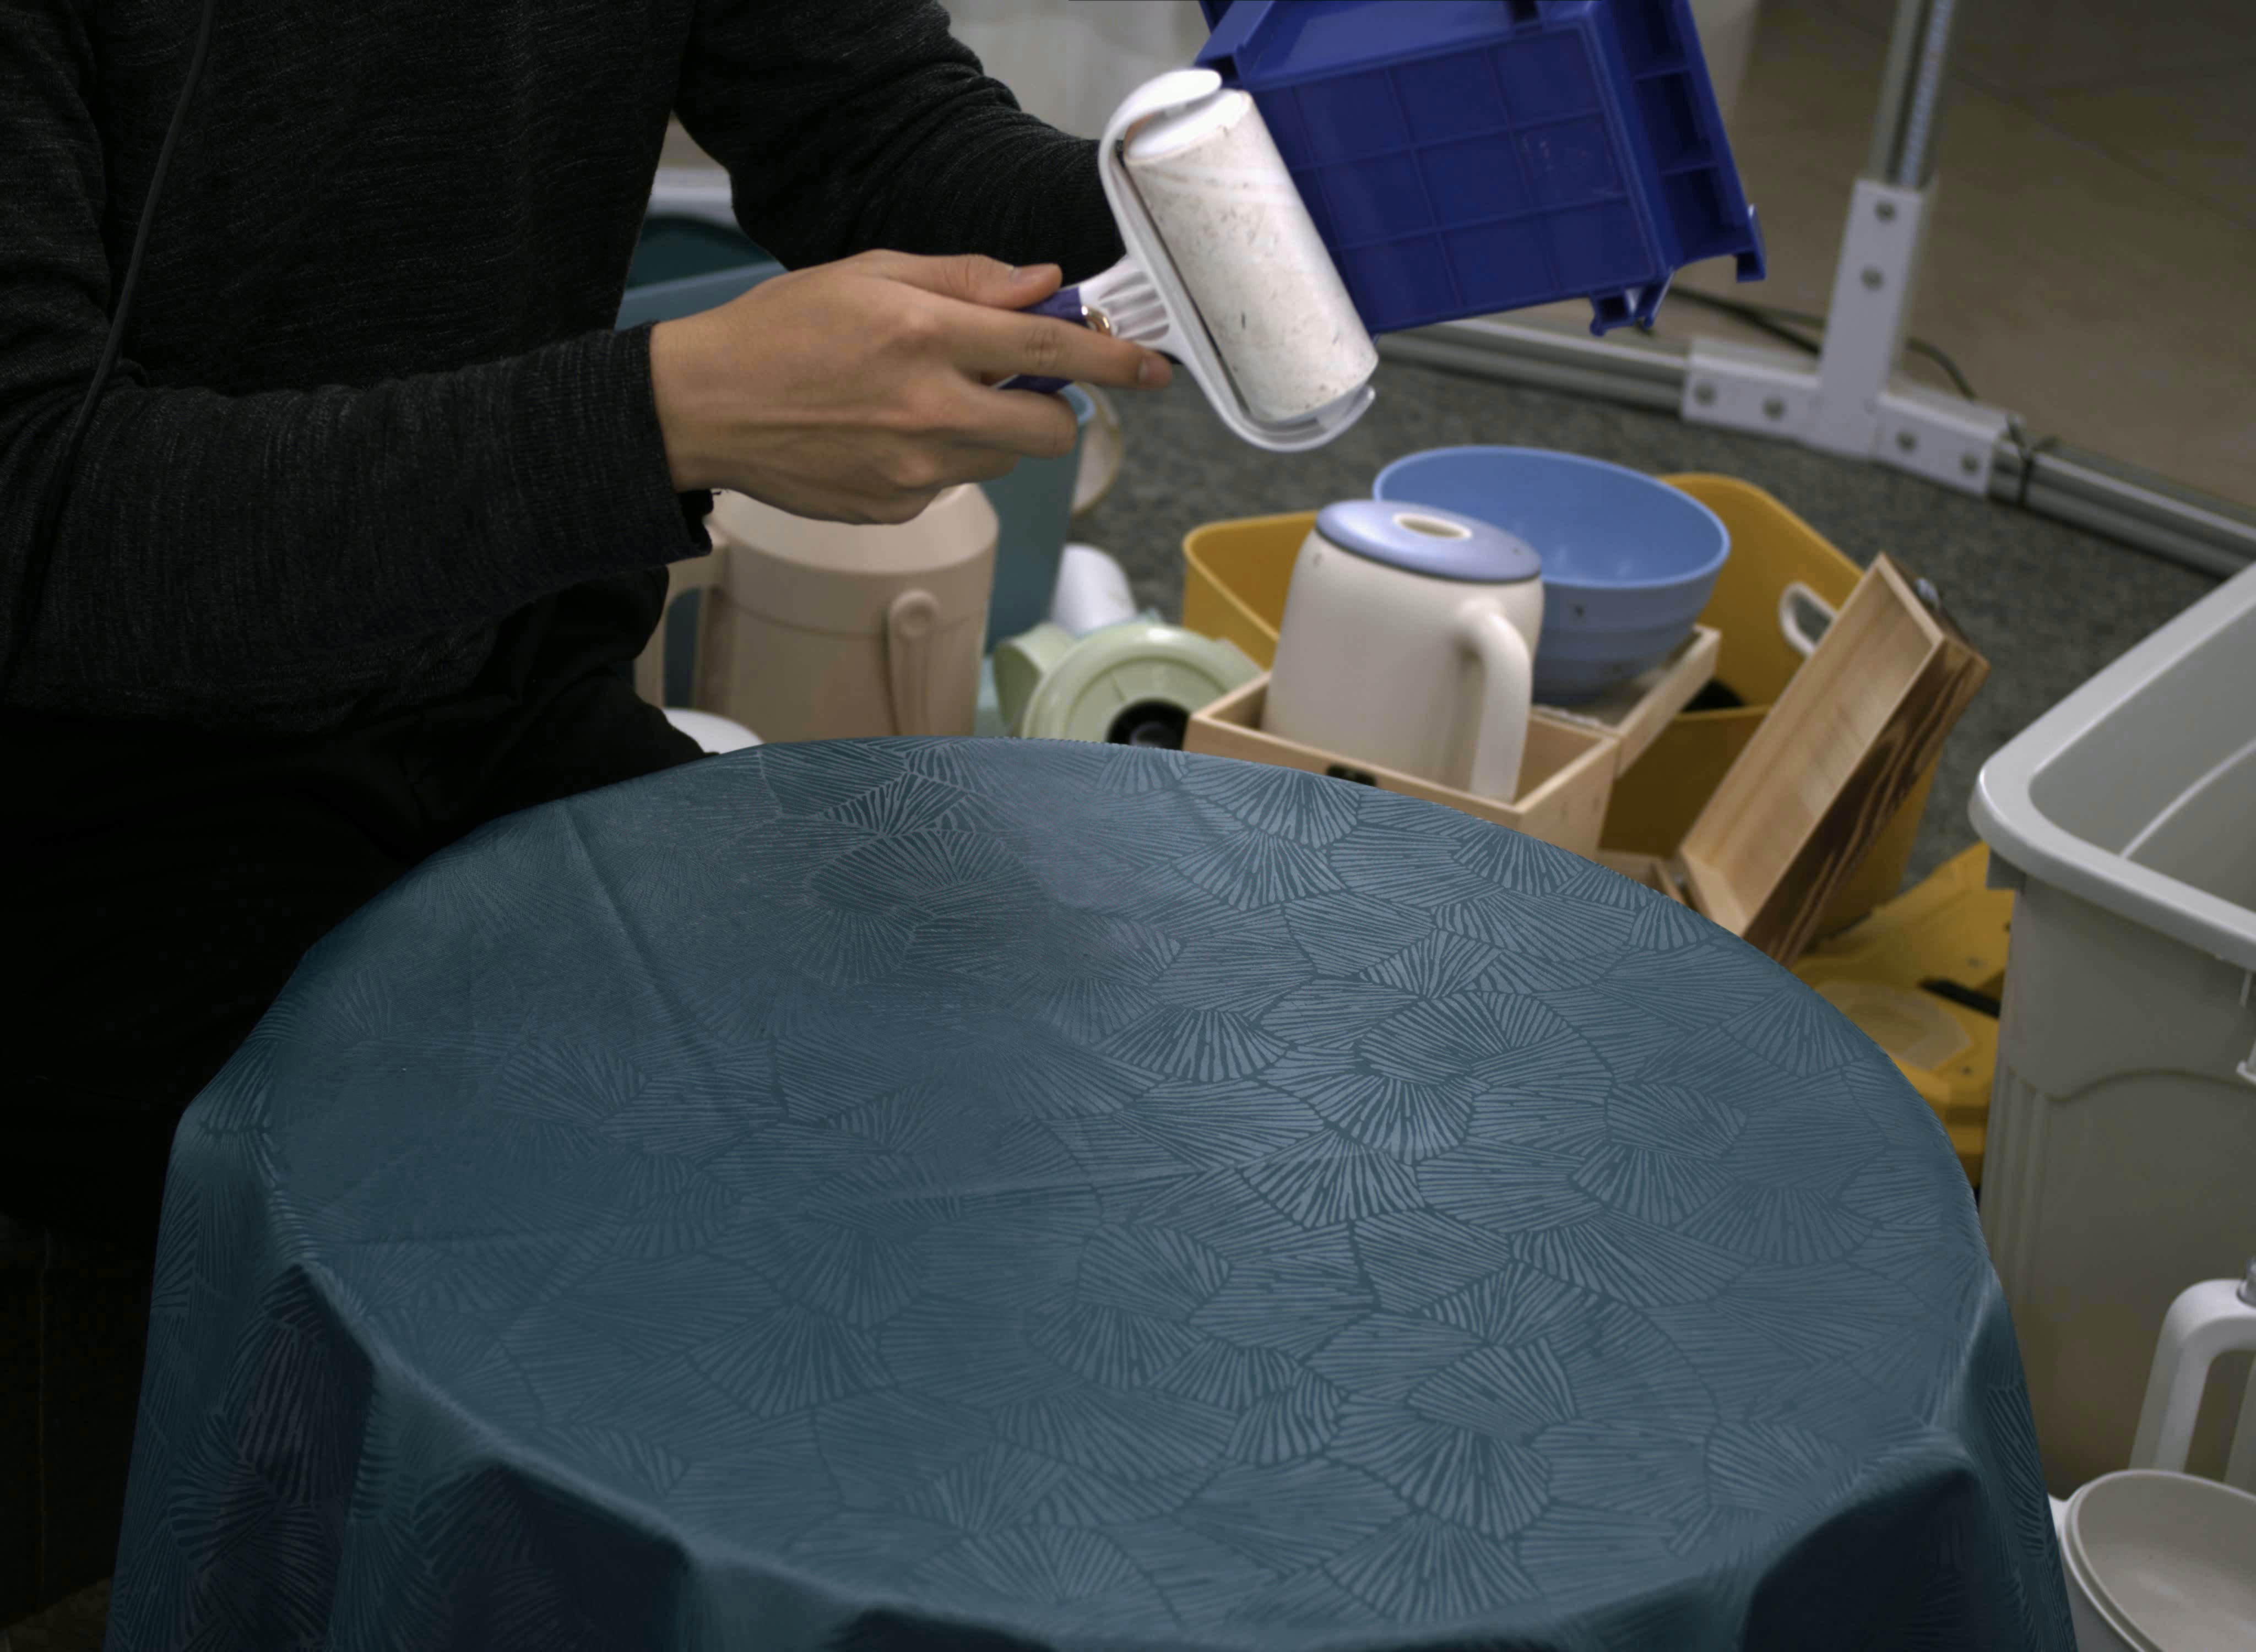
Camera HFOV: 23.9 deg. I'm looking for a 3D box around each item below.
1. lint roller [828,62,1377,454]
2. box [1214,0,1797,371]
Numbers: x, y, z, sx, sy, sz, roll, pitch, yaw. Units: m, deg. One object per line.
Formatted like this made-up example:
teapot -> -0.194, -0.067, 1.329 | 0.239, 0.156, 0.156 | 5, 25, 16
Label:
lint roller -> -0.020, -0.163, 1.750 | 0.180, 0.132, 0.050 | -23, 22, 10
box -> 0.123, -0.230, 1.760 | 0.179, 0.124, 0.082 | -11, 25, 22
